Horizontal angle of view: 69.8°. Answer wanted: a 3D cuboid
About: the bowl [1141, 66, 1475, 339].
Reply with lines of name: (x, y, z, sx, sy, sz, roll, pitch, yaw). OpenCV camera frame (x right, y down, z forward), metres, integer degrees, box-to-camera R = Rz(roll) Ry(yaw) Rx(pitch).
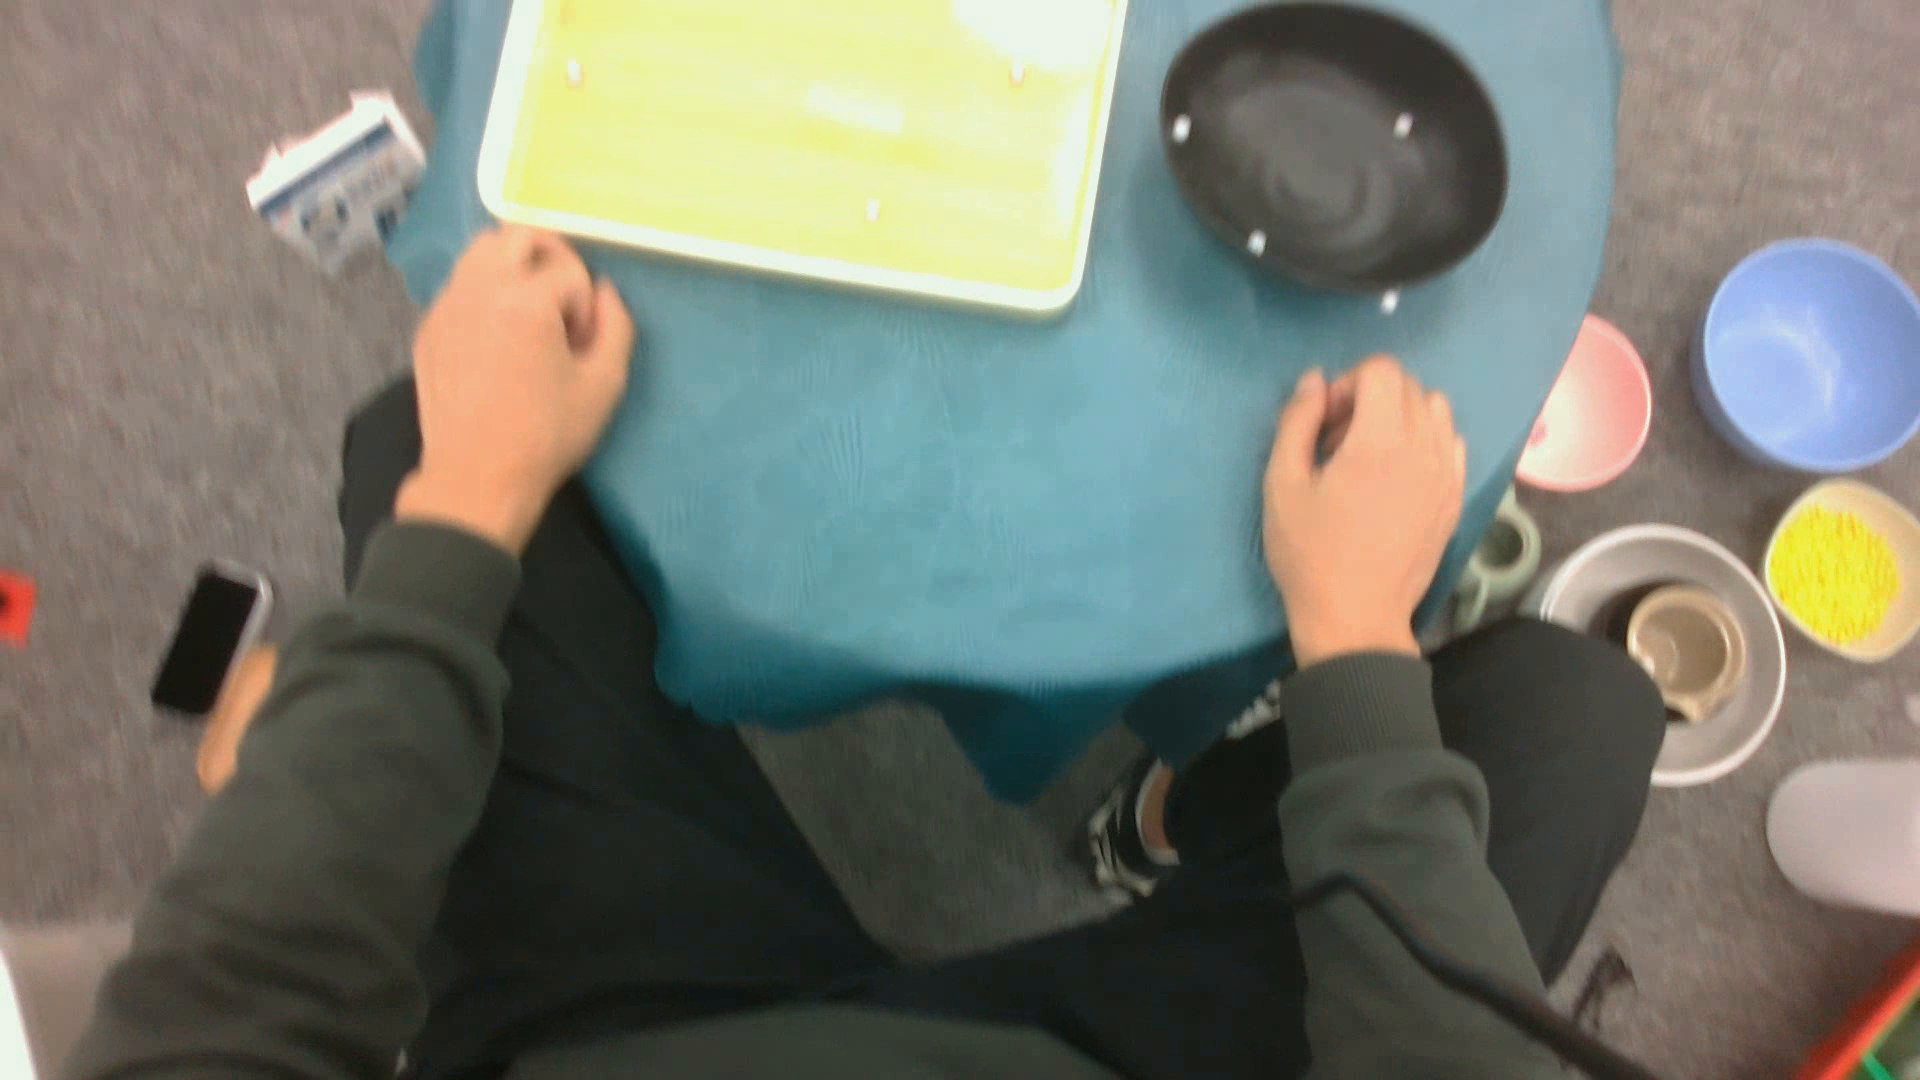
bowl: (0.170, -0.162, 0.701, 0.170, 0.066, 0.137, 25, 78, 8)

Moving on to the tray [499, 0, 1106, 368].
tray: (-0.080, -0.198, 0.731, 0.300, 0.027, 0.192, 7, 78, 2)
